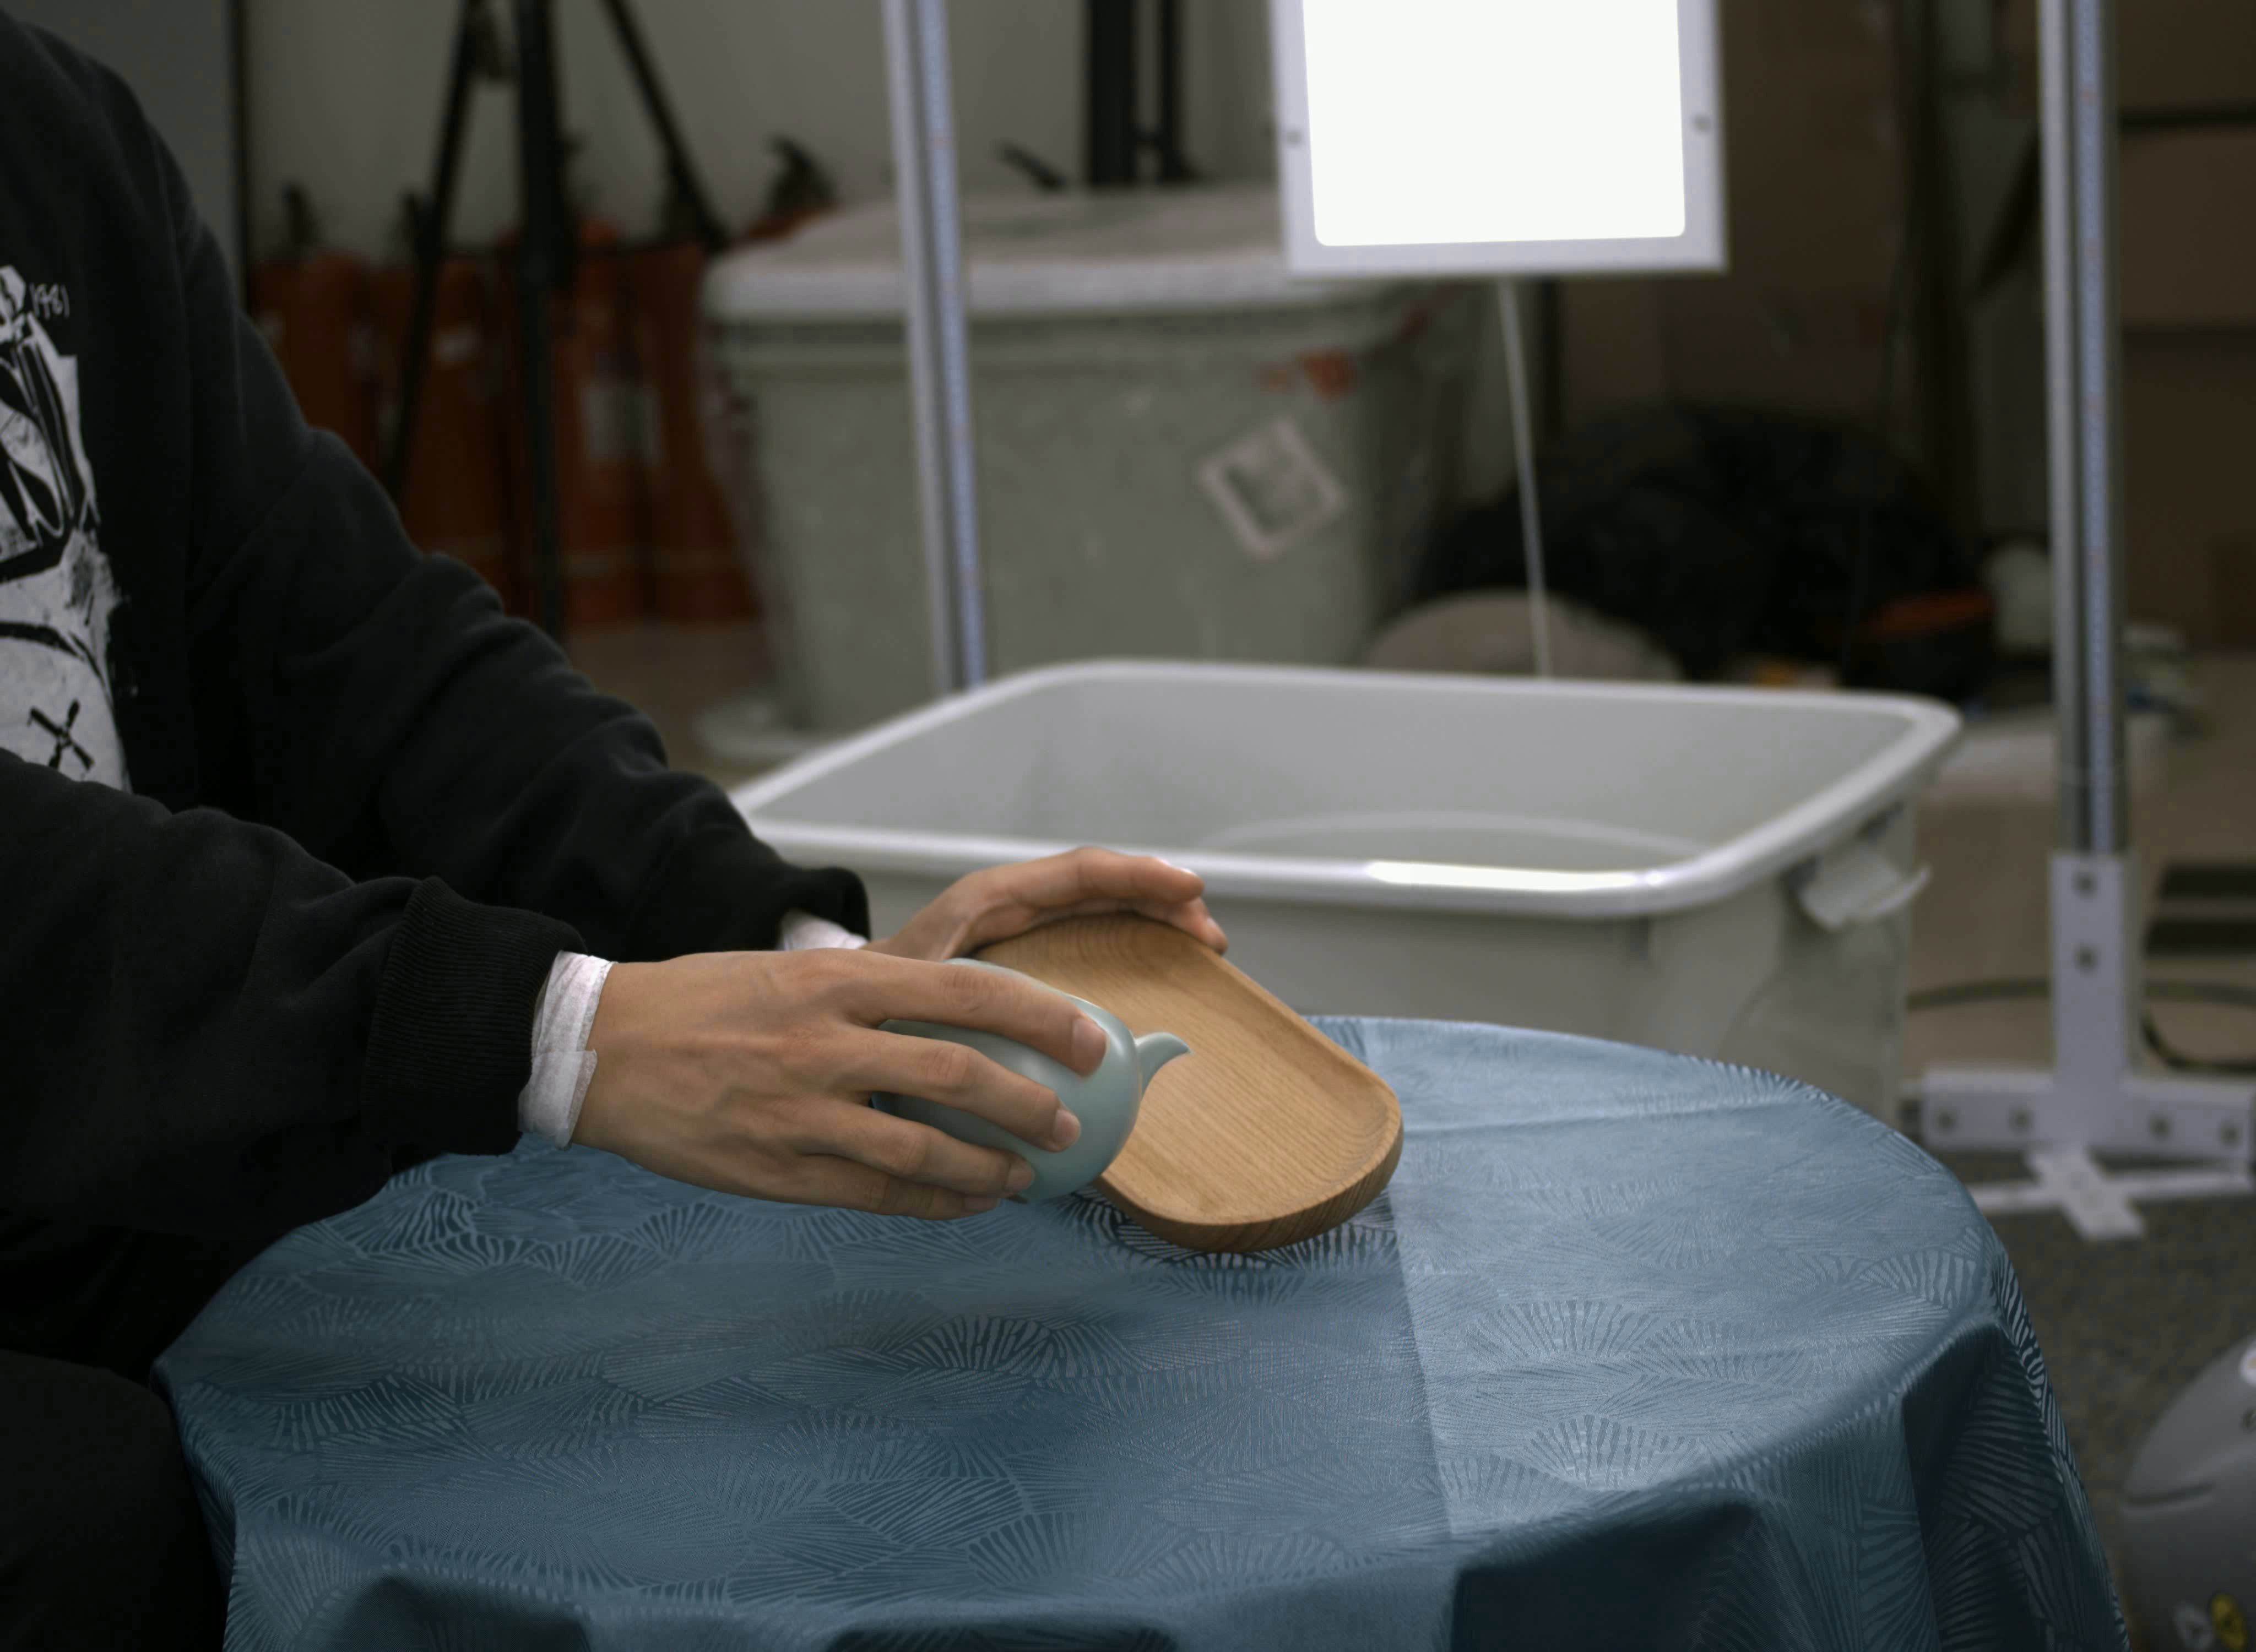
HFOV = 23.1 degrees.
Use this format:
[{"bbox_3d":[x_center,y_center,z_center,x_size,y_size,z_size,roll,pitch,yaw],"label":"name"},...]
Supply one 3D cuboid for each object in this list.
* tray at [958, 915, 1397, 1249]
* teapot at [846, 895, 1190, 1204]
[{"bbox_3d":[0.010,0.087,1.909,0.100,0.020,0.235,-25,30,-20],"label":"tray"},{"bbox_3d":[-0.040,0.079,1.758,0.141,0.074,0.090,29,-11,-38],"label":"teapot"}]
